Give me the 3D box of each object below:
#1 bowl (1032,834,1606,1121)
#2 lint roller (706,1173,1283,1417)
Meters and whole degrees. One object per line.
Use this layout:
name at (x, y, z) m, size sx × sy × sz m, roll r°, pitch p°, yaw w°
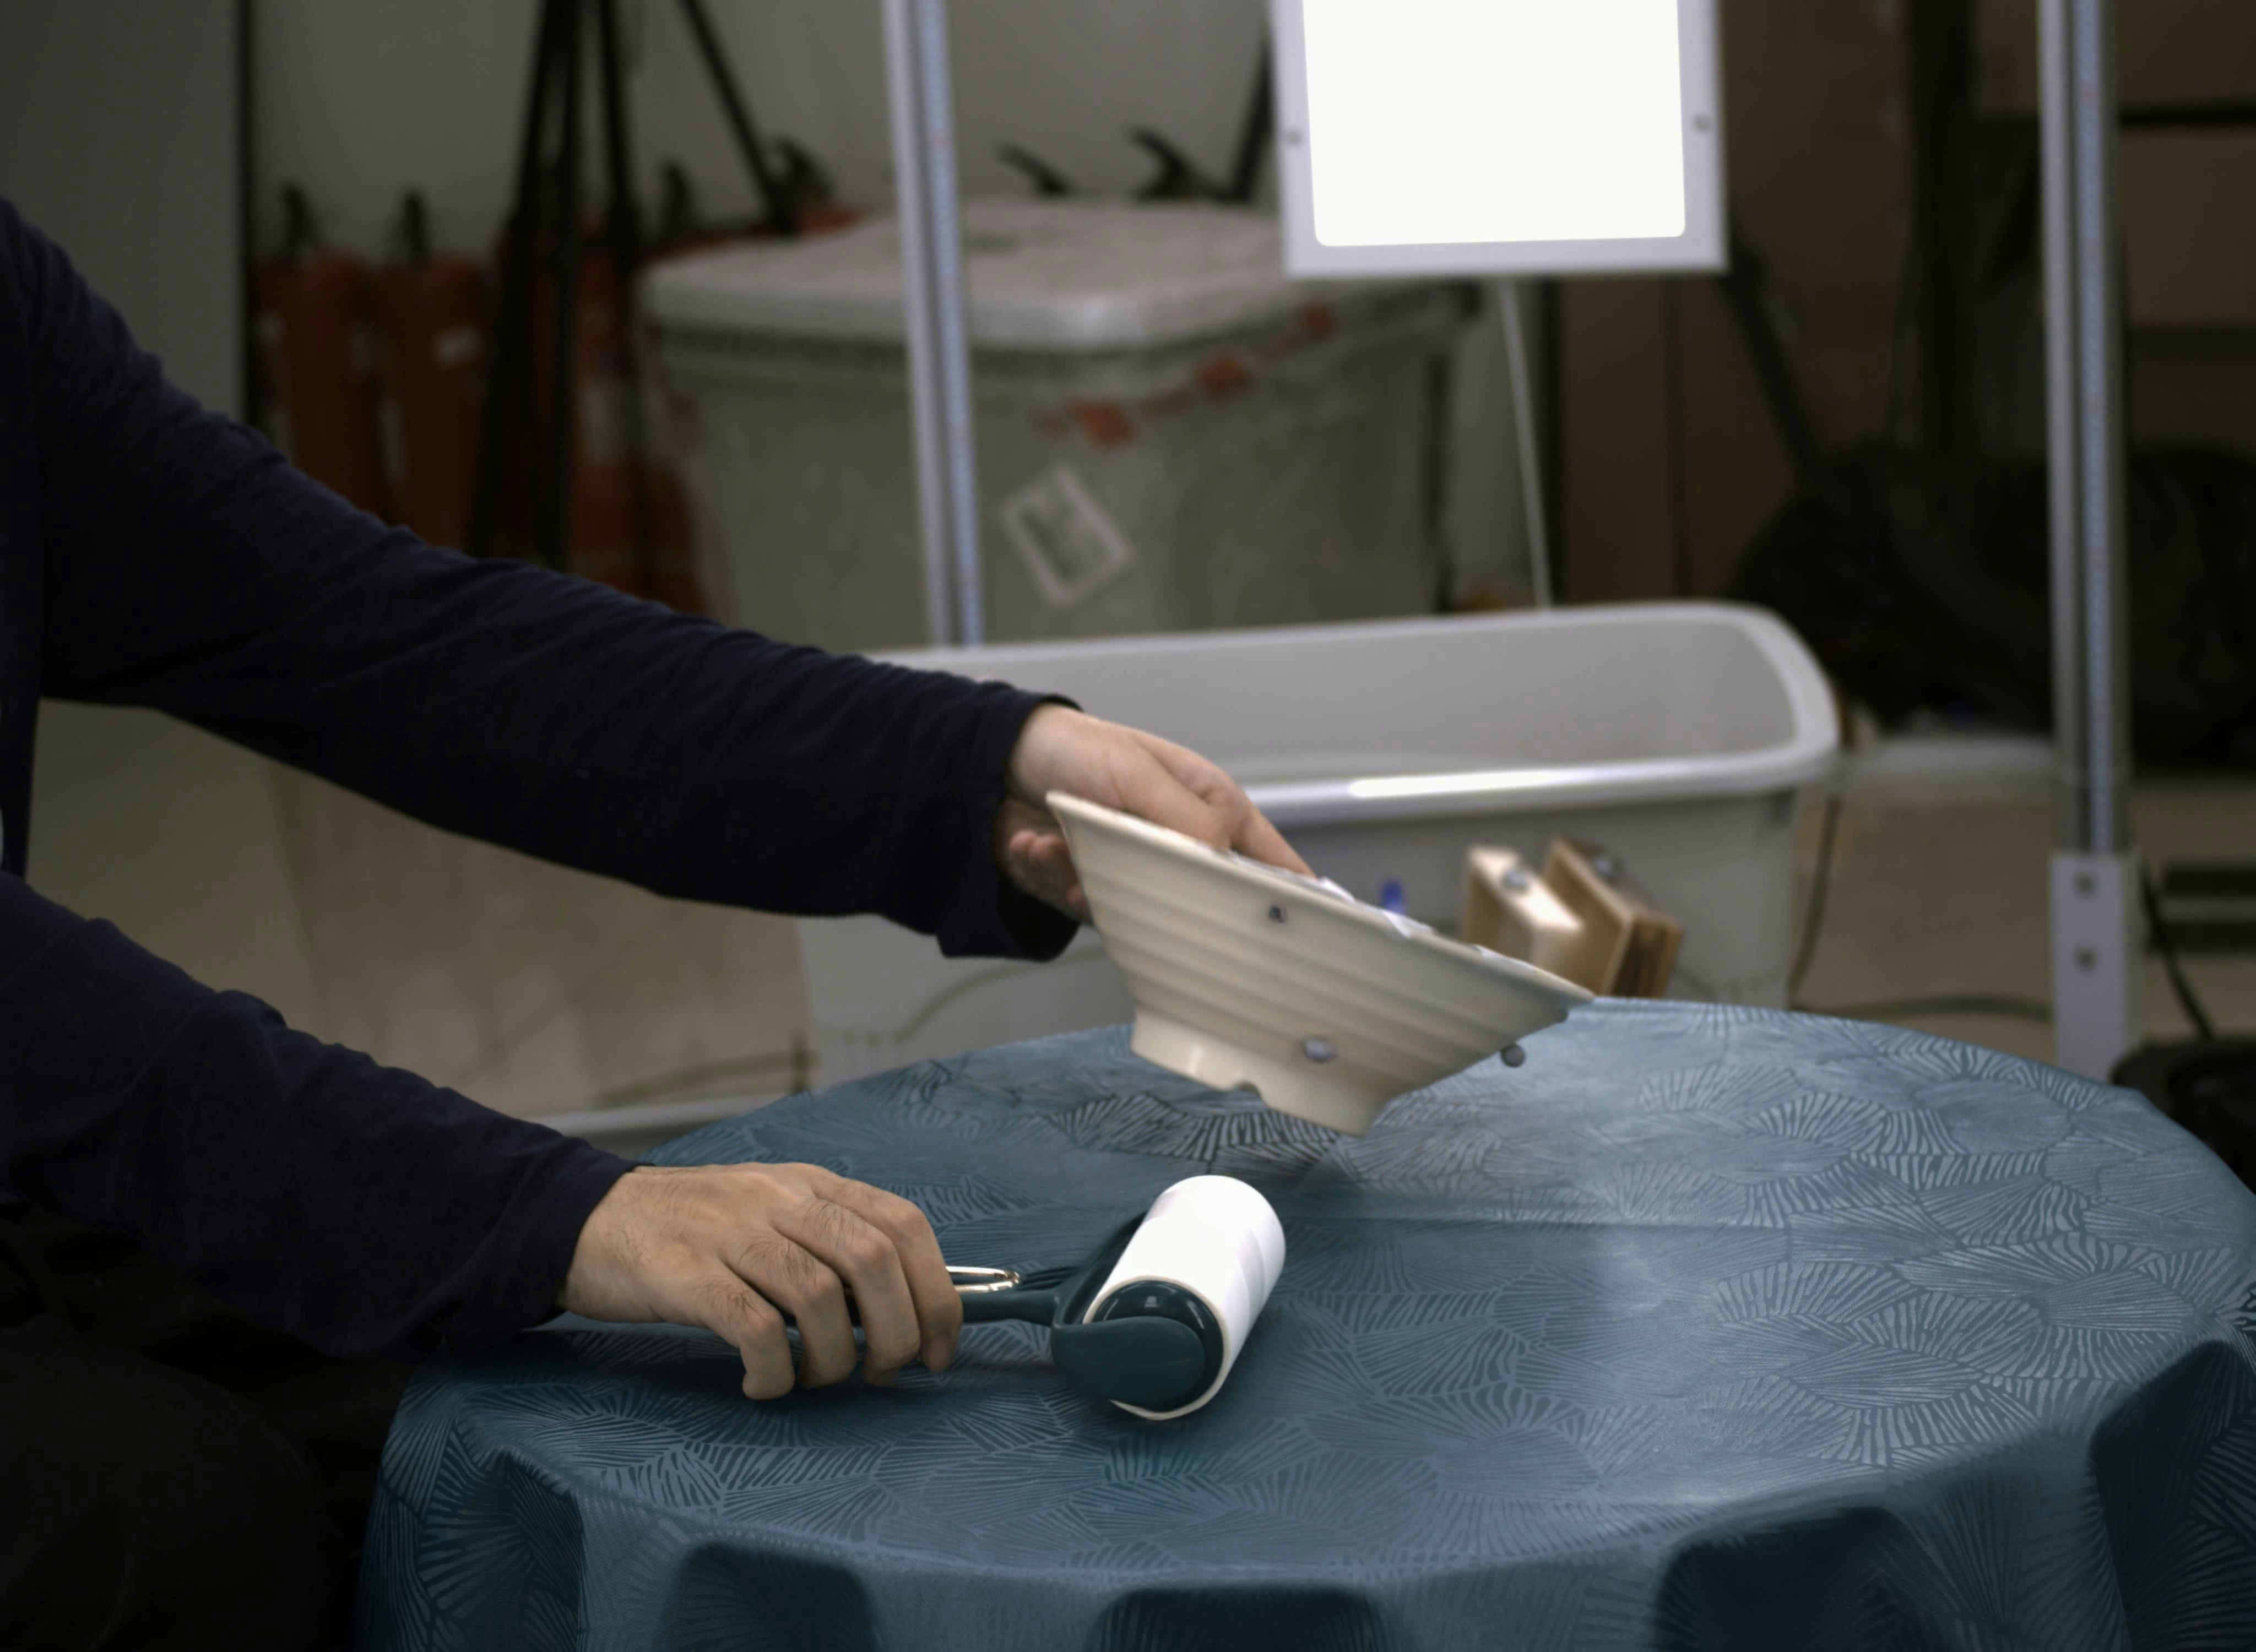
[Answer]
bowl at (0.061, 0.057, 1.913) m, size 0.203 × 0.078 × 0.204 m, roll 9°, pitch 1°, yaw -2°
lint roller at (-0.047, 0.145, 1.733) m, size 0.181 × 0.048 × 0.132 m, roll 0°, pitch 15°, yaw 14°
